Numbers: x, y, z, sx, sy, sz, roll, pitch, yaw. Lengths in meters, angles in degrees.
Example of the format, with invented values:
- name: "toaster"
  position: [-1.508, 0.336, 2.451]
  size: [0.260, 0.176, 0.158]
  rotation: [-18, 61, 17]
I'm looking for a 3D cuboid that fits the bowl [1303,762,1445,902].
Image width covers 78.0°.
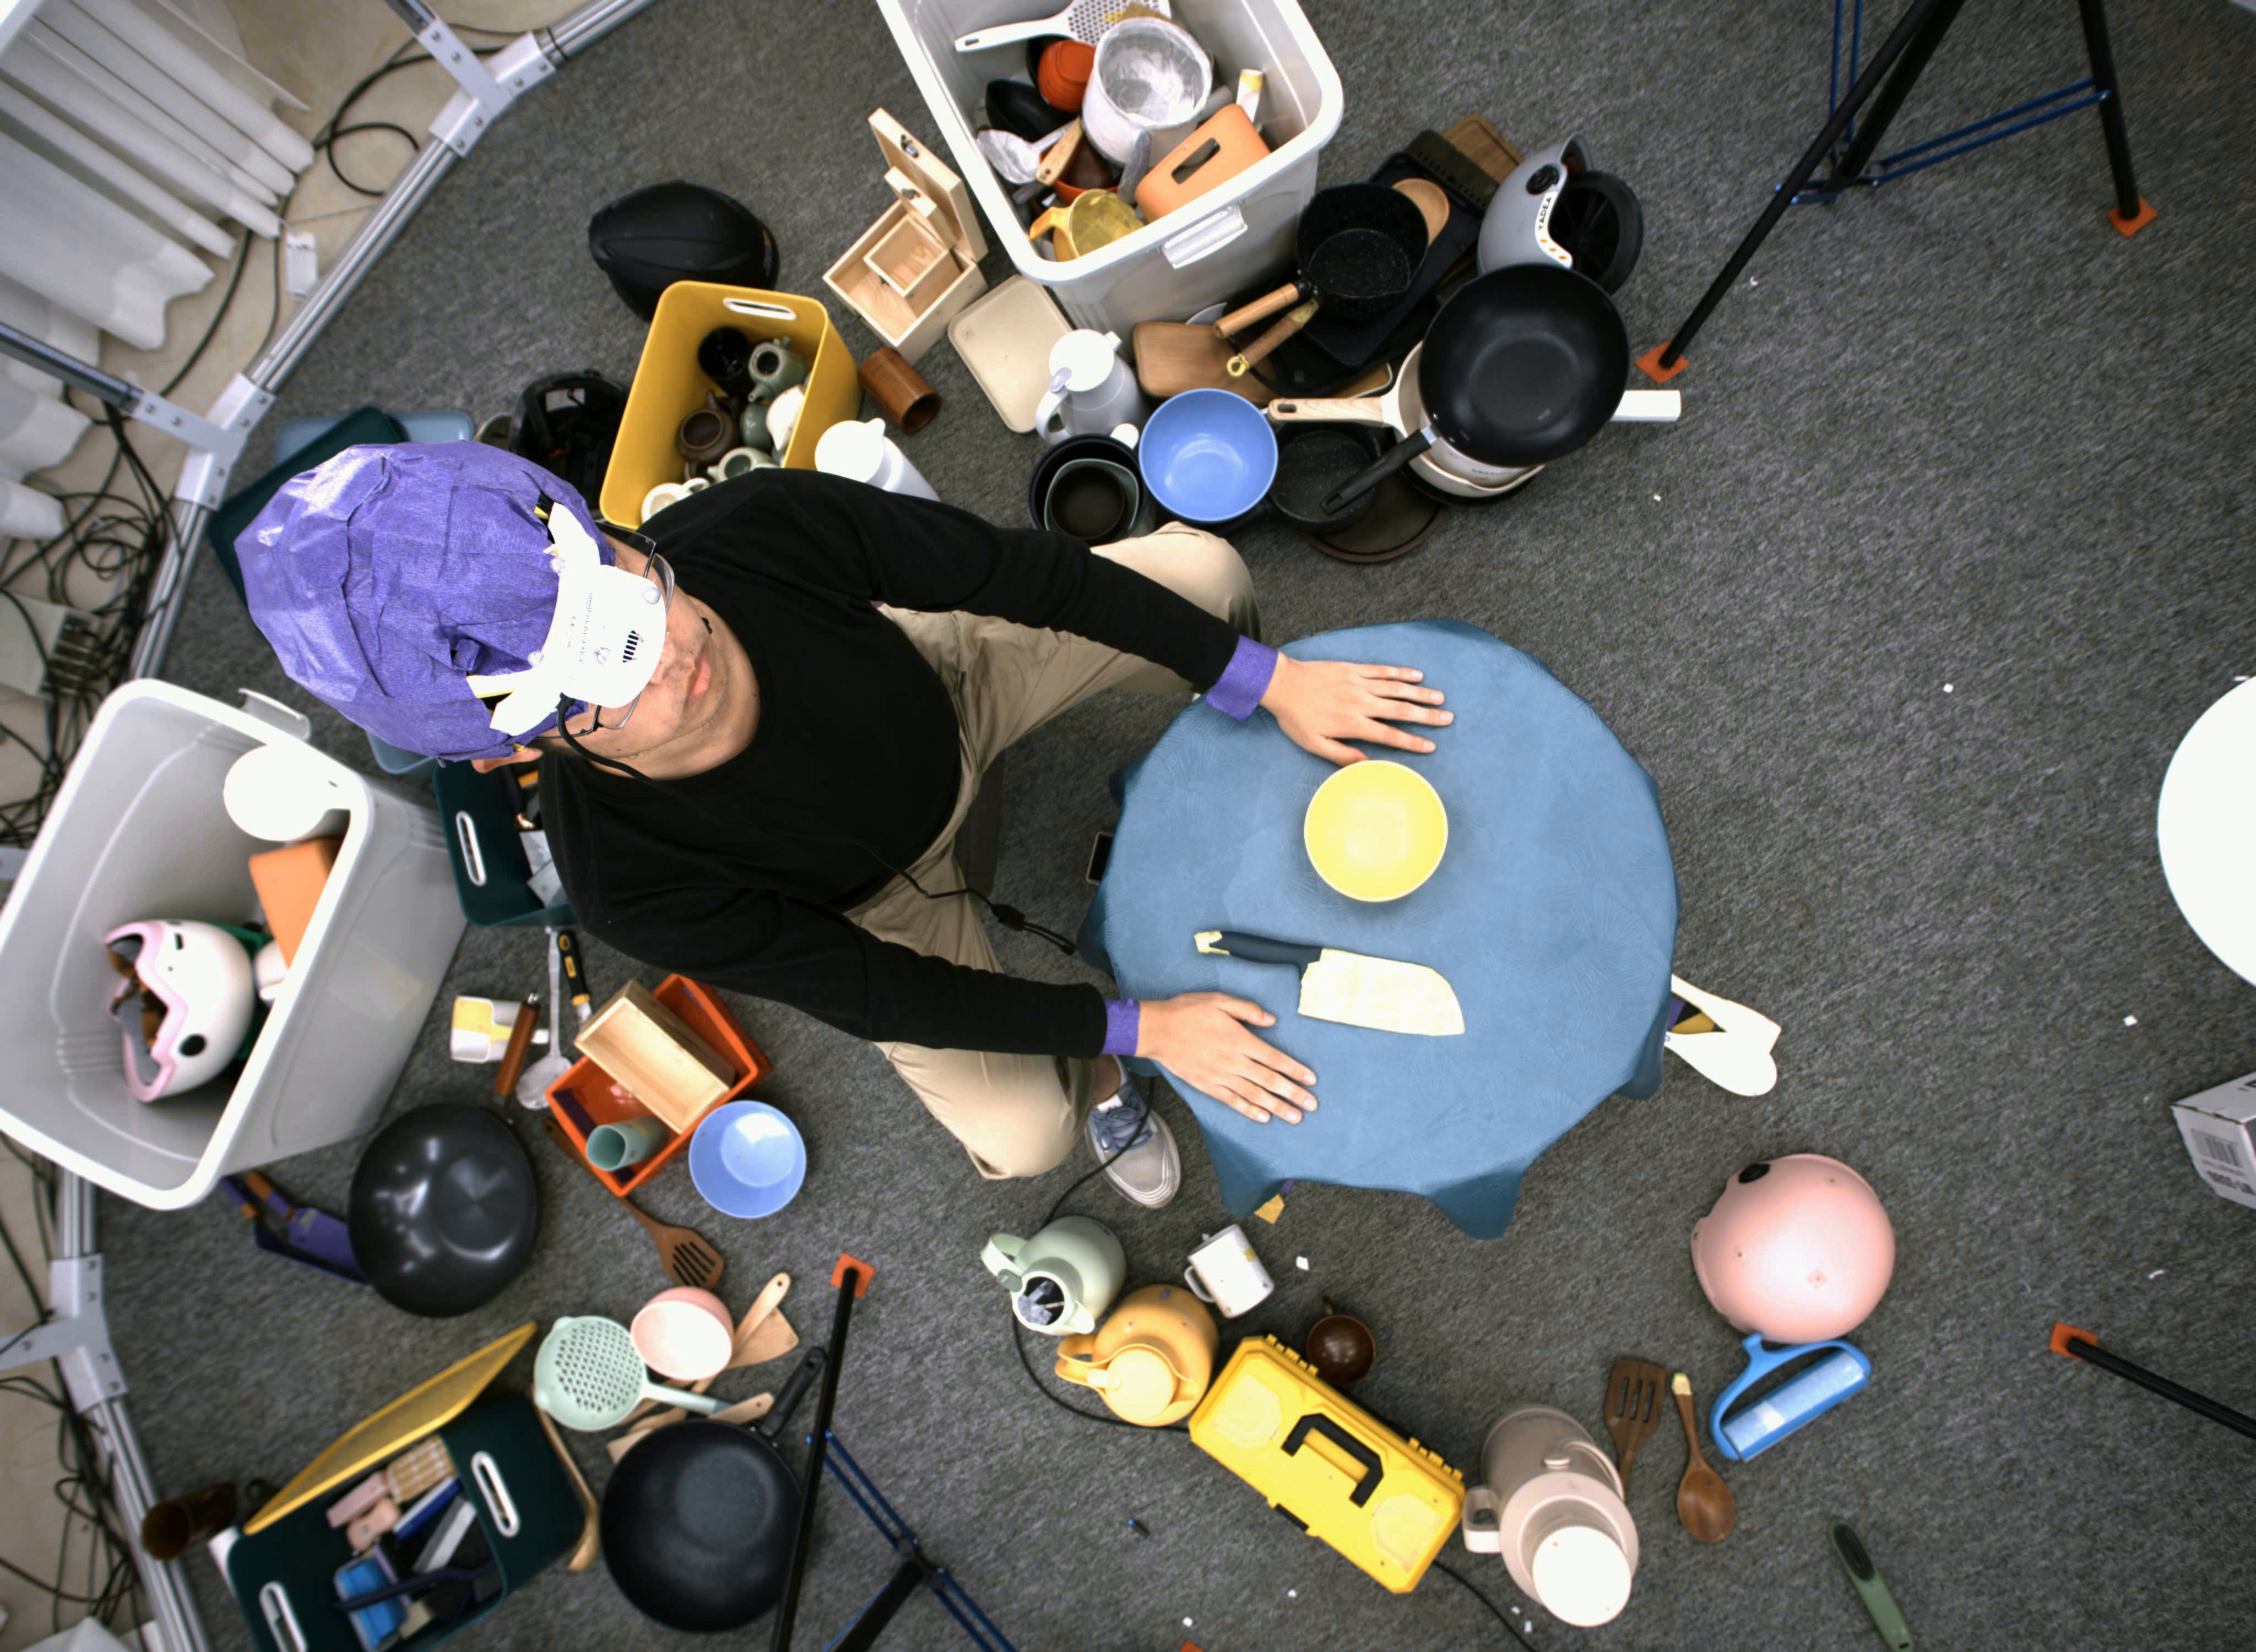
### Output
- name: "bowl"
  position: [0.255, 0.008, 1.437]
  size: [0.146, 0.060, 0.144]
  rotation: [-1, 84, 9]

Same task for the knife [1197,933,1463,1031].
- name: "knife"
  position: [0.211, 0.162, 1.461]
  size: [0.290, 0.027, 0.081]
  rotation: [12, 88, 10]
